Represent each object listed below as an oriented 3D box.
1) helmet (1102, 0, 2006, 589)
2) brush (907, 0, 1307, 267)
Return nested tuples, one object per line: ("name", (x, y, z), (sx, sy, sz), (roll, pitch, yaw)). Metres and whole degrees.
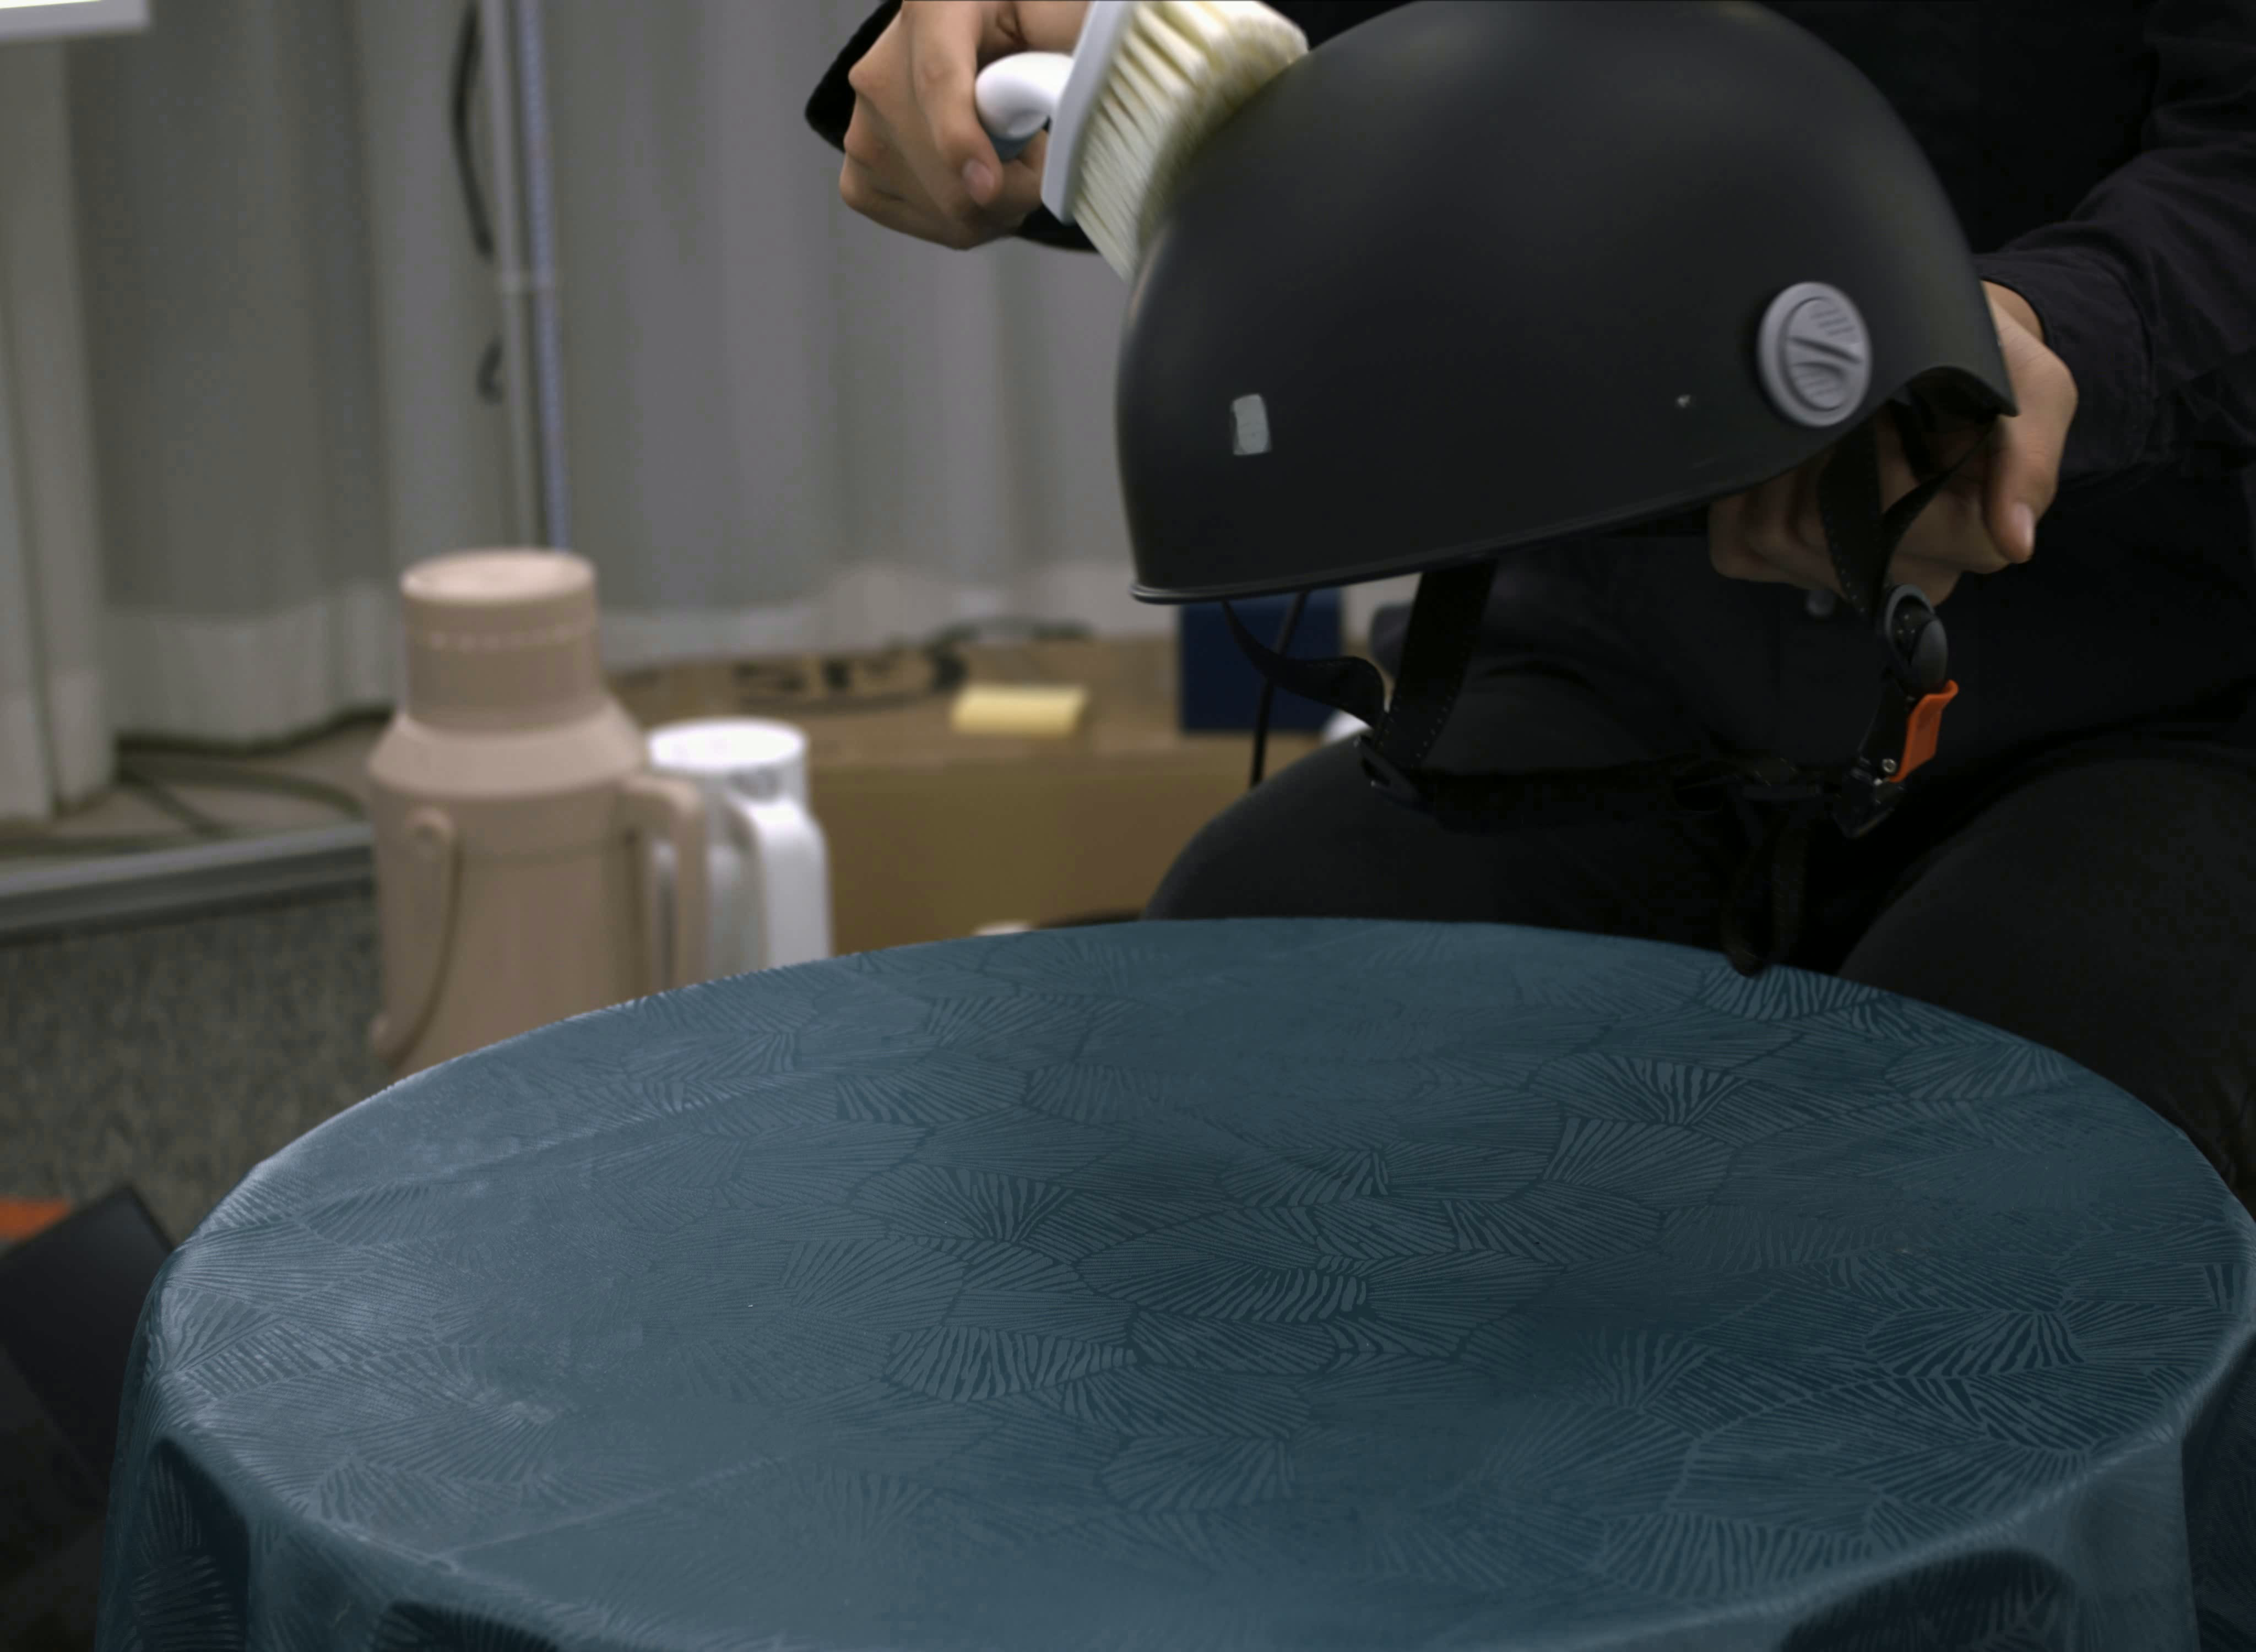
("helmet", (0.108, -0.153, 1.462), (0.234, 0.167, 0.266), (-8, 3, 43))
("brush", (-0.001, -0.197, 1.594), (0.082, 0.085, 0.327), (-5, -5, -12))
